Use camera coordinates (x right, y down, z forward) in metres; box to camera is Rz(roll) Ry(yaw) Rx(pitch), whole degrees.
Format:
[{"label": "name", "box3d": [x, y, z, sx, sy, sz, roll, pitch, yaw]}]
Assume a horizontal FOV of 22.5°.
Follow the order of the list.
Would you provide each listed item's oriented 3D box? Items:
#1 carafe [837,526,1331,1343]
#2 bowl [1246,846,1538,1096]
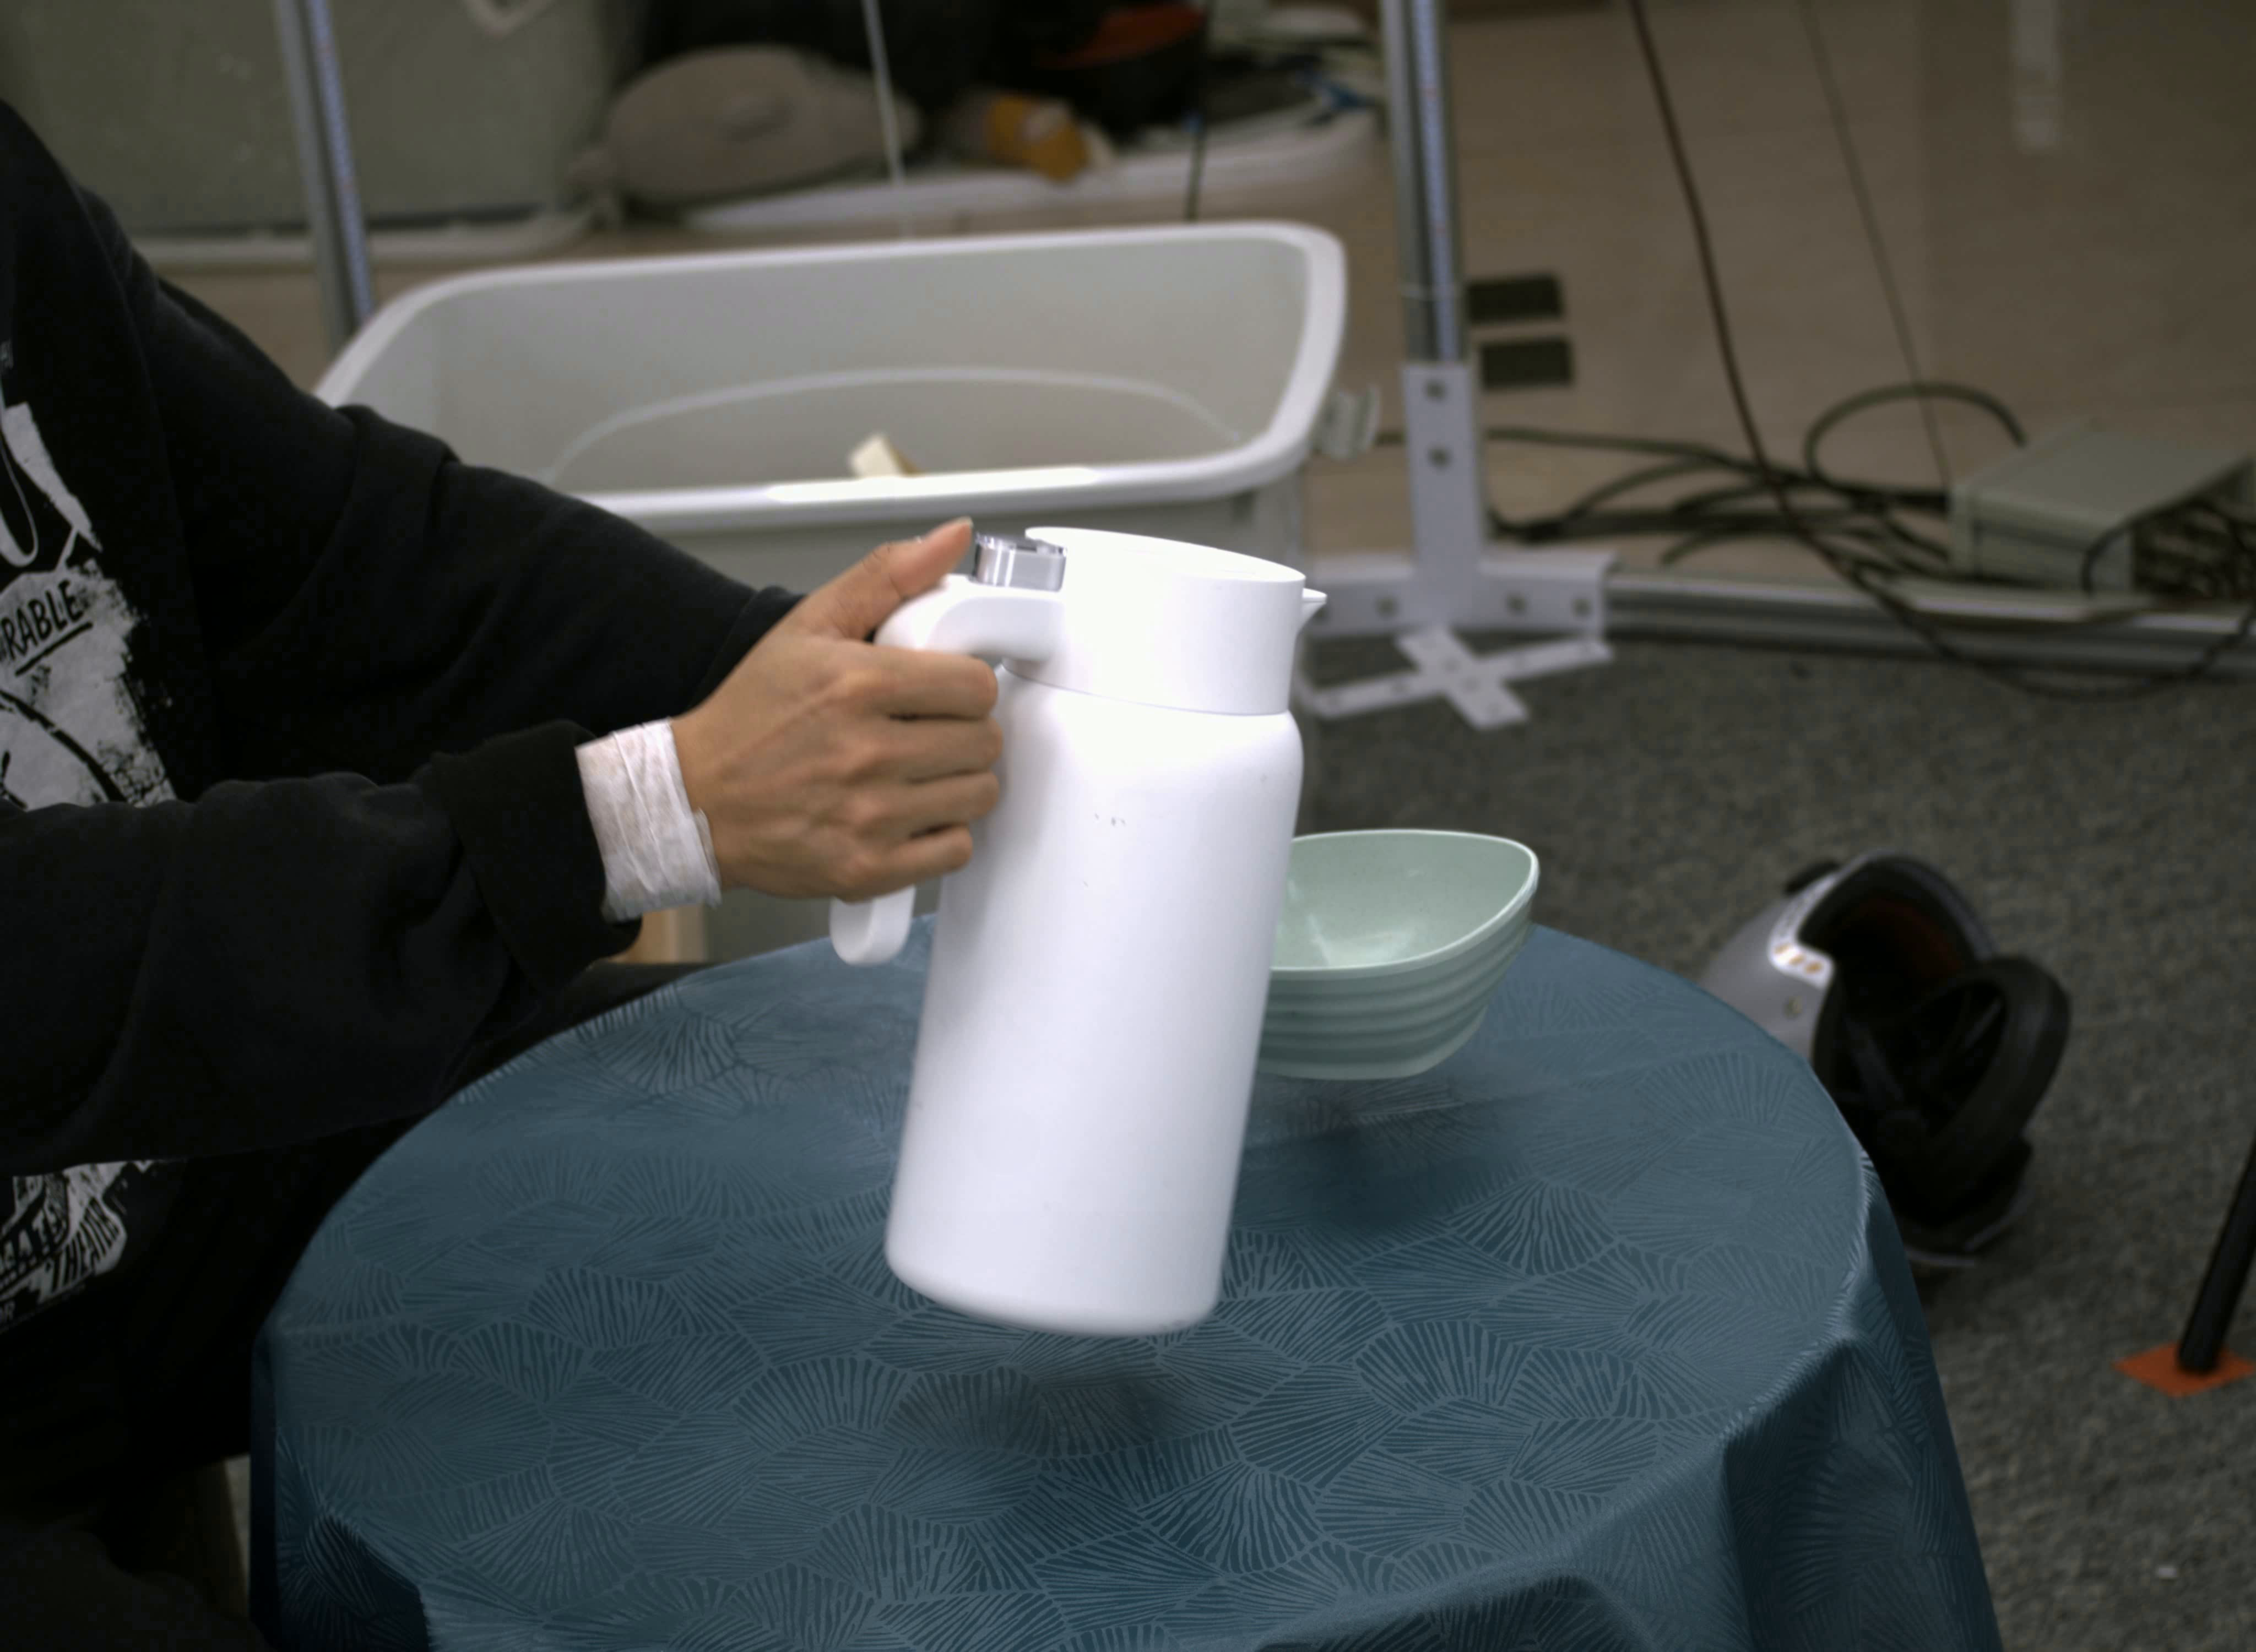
[{"label": "carafe", "box3d": [-0.019, 0.037, 1.943, 0.173, 0.271, 0.122, 1, 15, -35]}, {"label": "bowl", "box3d": [0.088, 0.059, 2.154, 0.151, 0.059, 0.149, -10, 20, 4]}]
